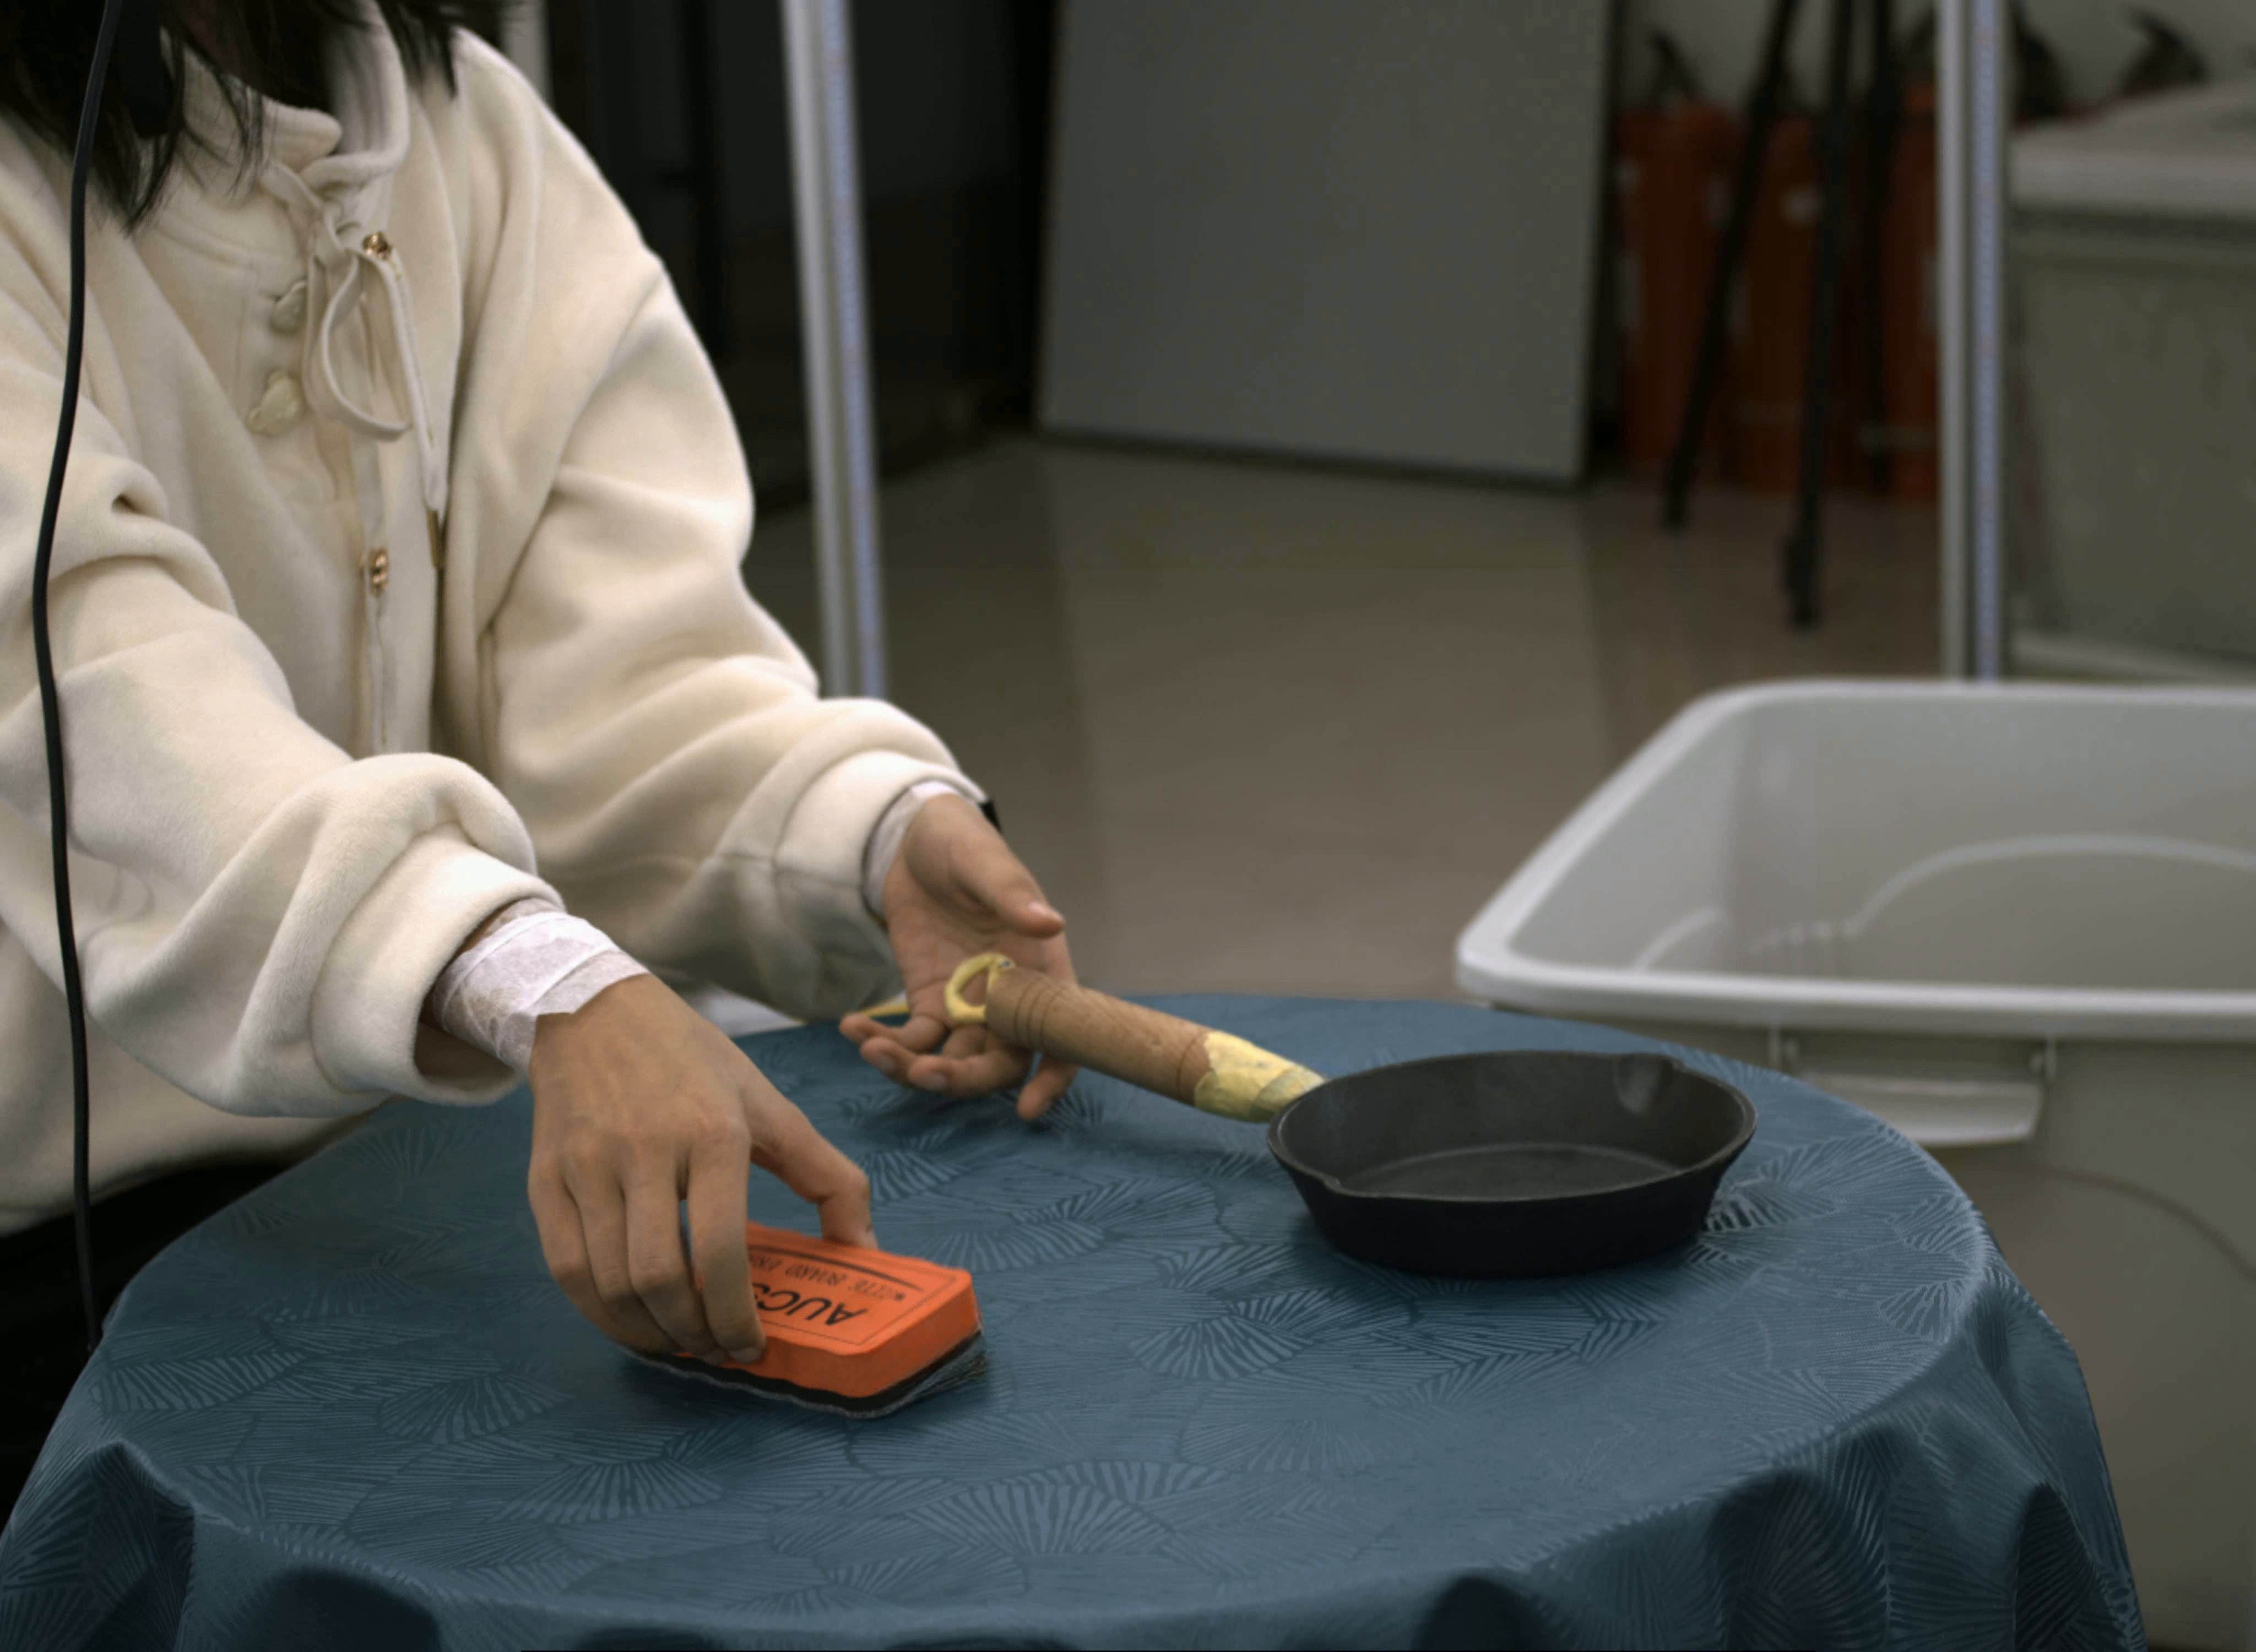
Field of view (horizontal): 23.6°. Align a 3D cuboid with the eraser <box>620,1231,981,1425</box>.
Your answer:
[{"bbox_3d":[-0.098,0.150,1.620,0.109,0.023,0.058,8,26,42],"label":"eraser"}]

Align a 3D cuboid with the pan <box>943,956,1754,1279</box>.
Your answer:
[{"bbox_3d":[0.060,0.090,1.770,0.327,0.050,0.165,11,20,43],"label":"pan"}]
